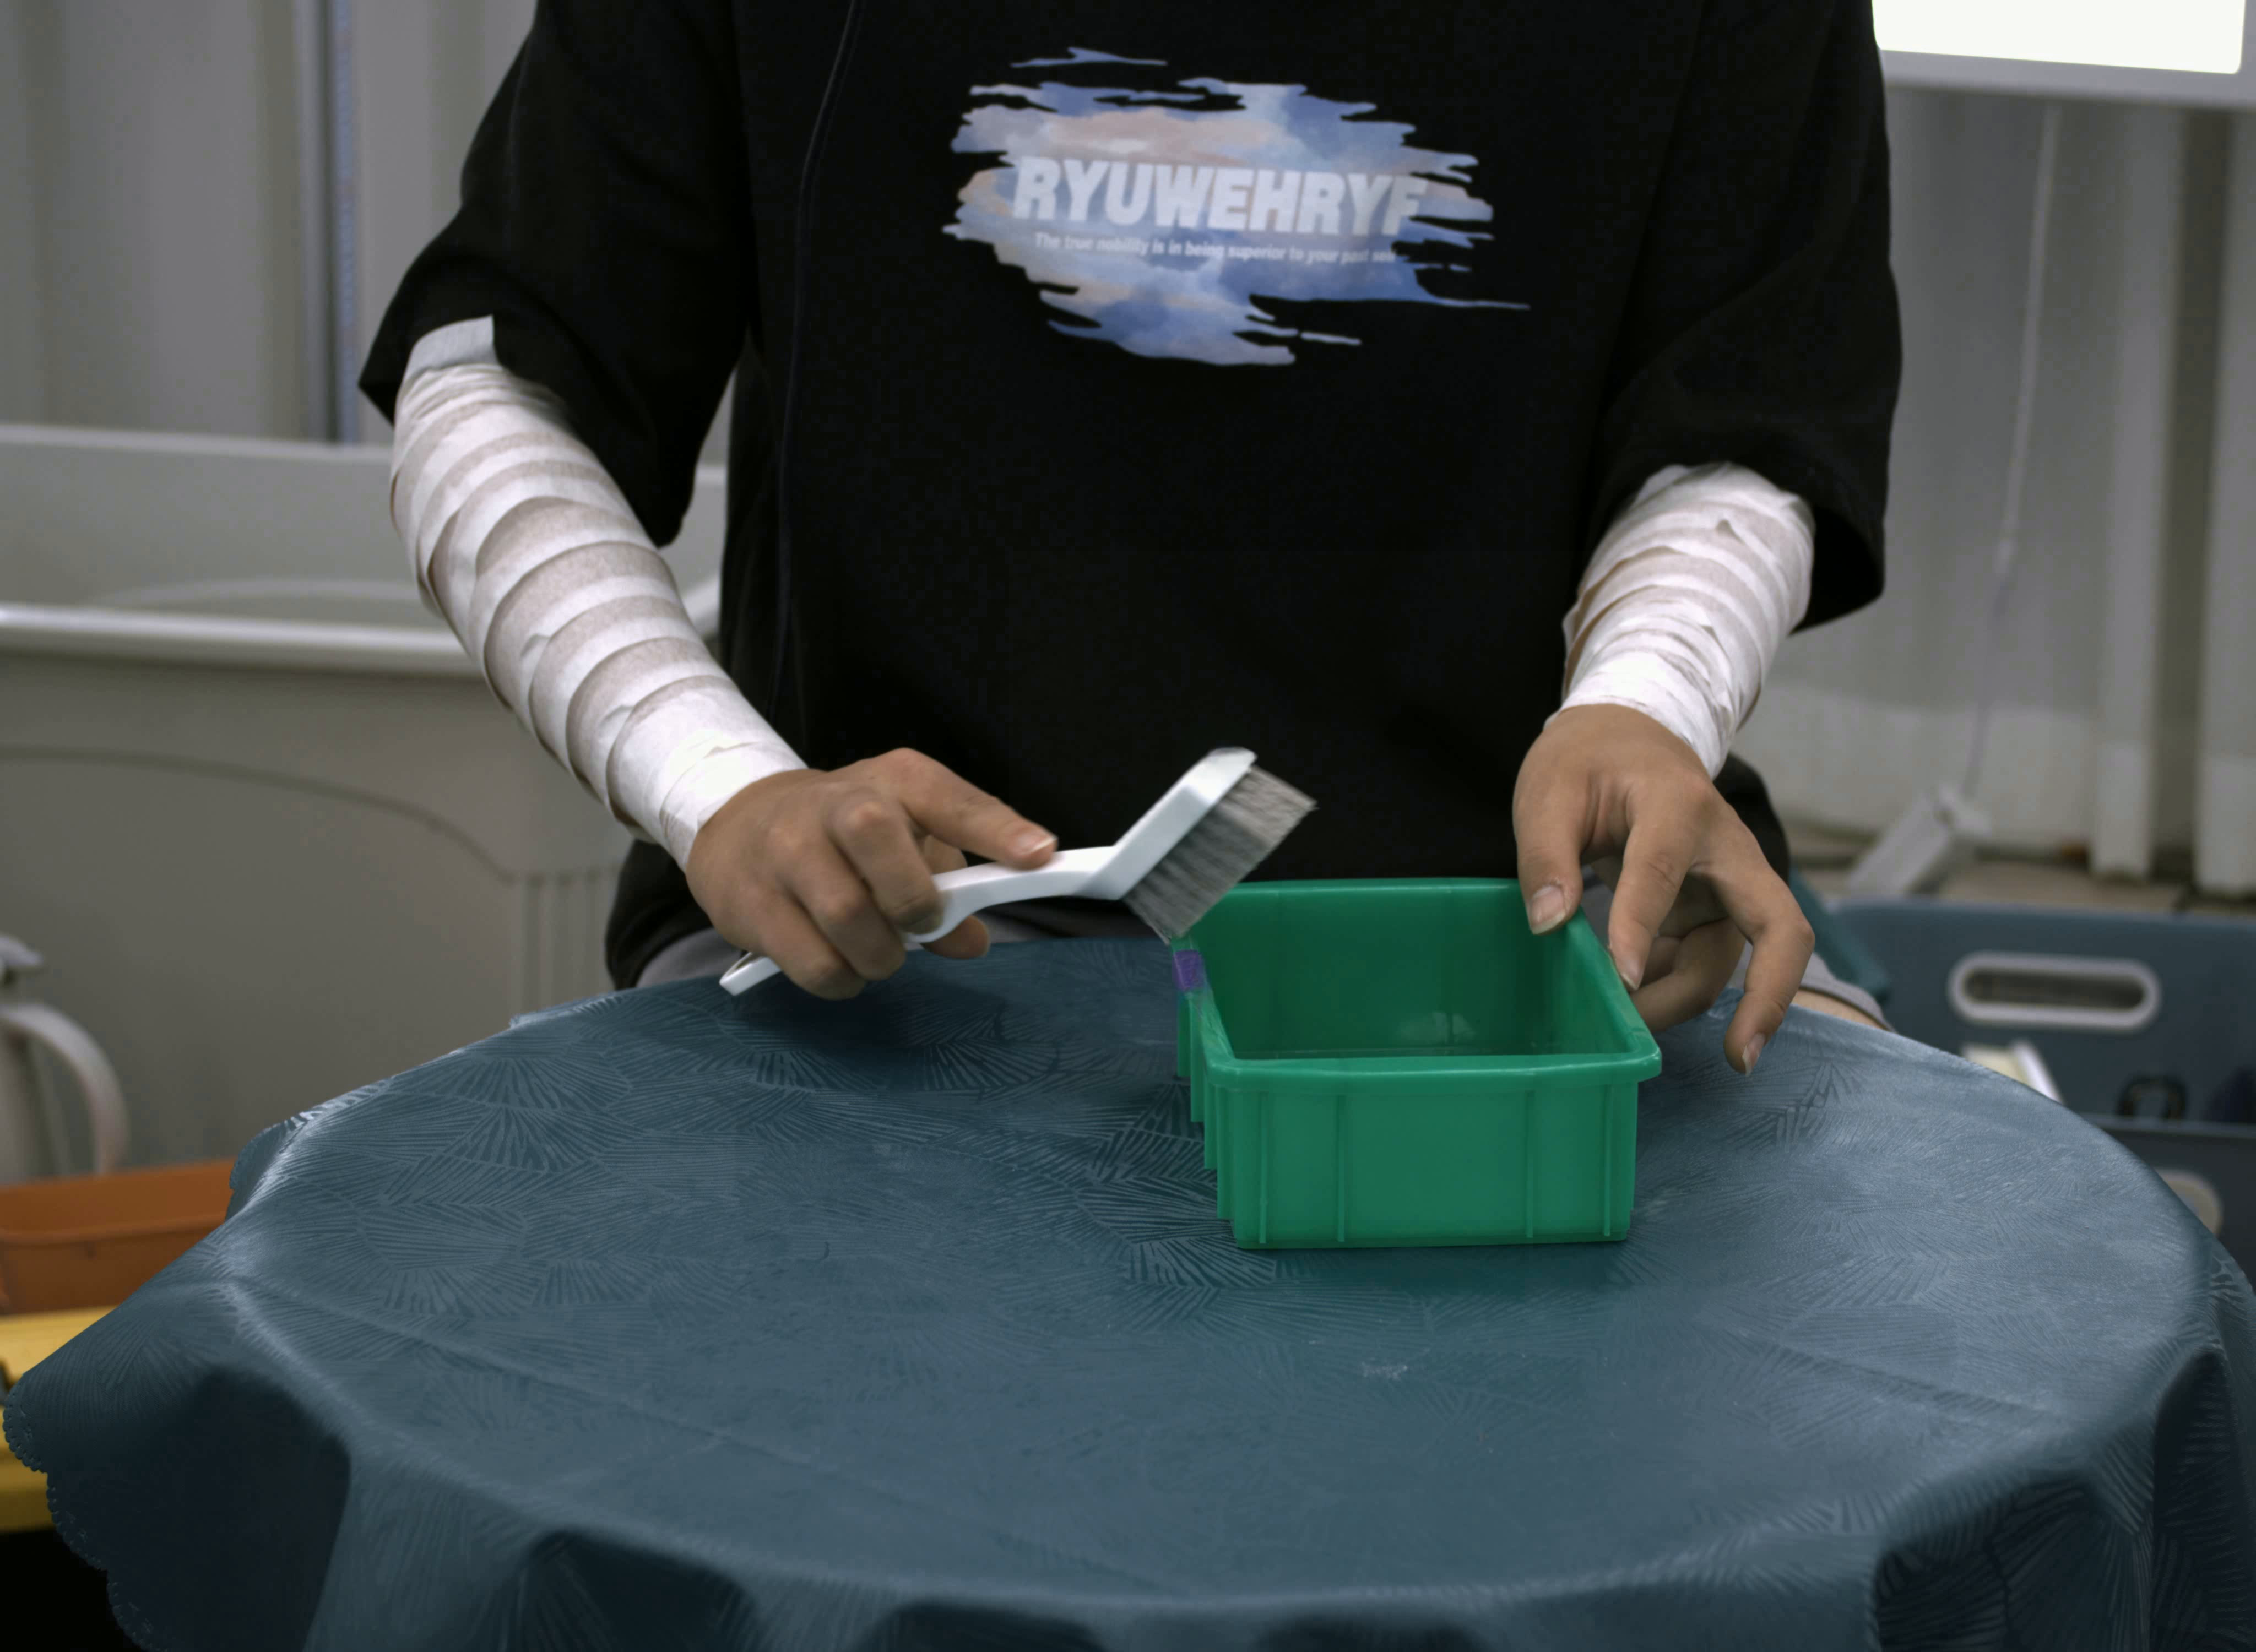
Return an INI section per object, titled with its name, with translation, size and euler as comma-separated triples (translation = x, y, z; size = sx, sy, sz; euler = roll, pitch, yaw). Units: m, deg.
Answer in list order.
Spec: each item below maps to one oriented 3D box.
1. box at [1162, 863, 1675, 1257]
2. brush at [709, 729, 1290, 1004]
[box]
translation = 0.088, 0.072, 1.650
size = 0.138, 0.066, 0.209
euler = -5, 17, -5
[brush]
translation = -0.043, 0.030, 1.721
size = 0.242, 0.050, 0.034
euler = -25, 19, 38
